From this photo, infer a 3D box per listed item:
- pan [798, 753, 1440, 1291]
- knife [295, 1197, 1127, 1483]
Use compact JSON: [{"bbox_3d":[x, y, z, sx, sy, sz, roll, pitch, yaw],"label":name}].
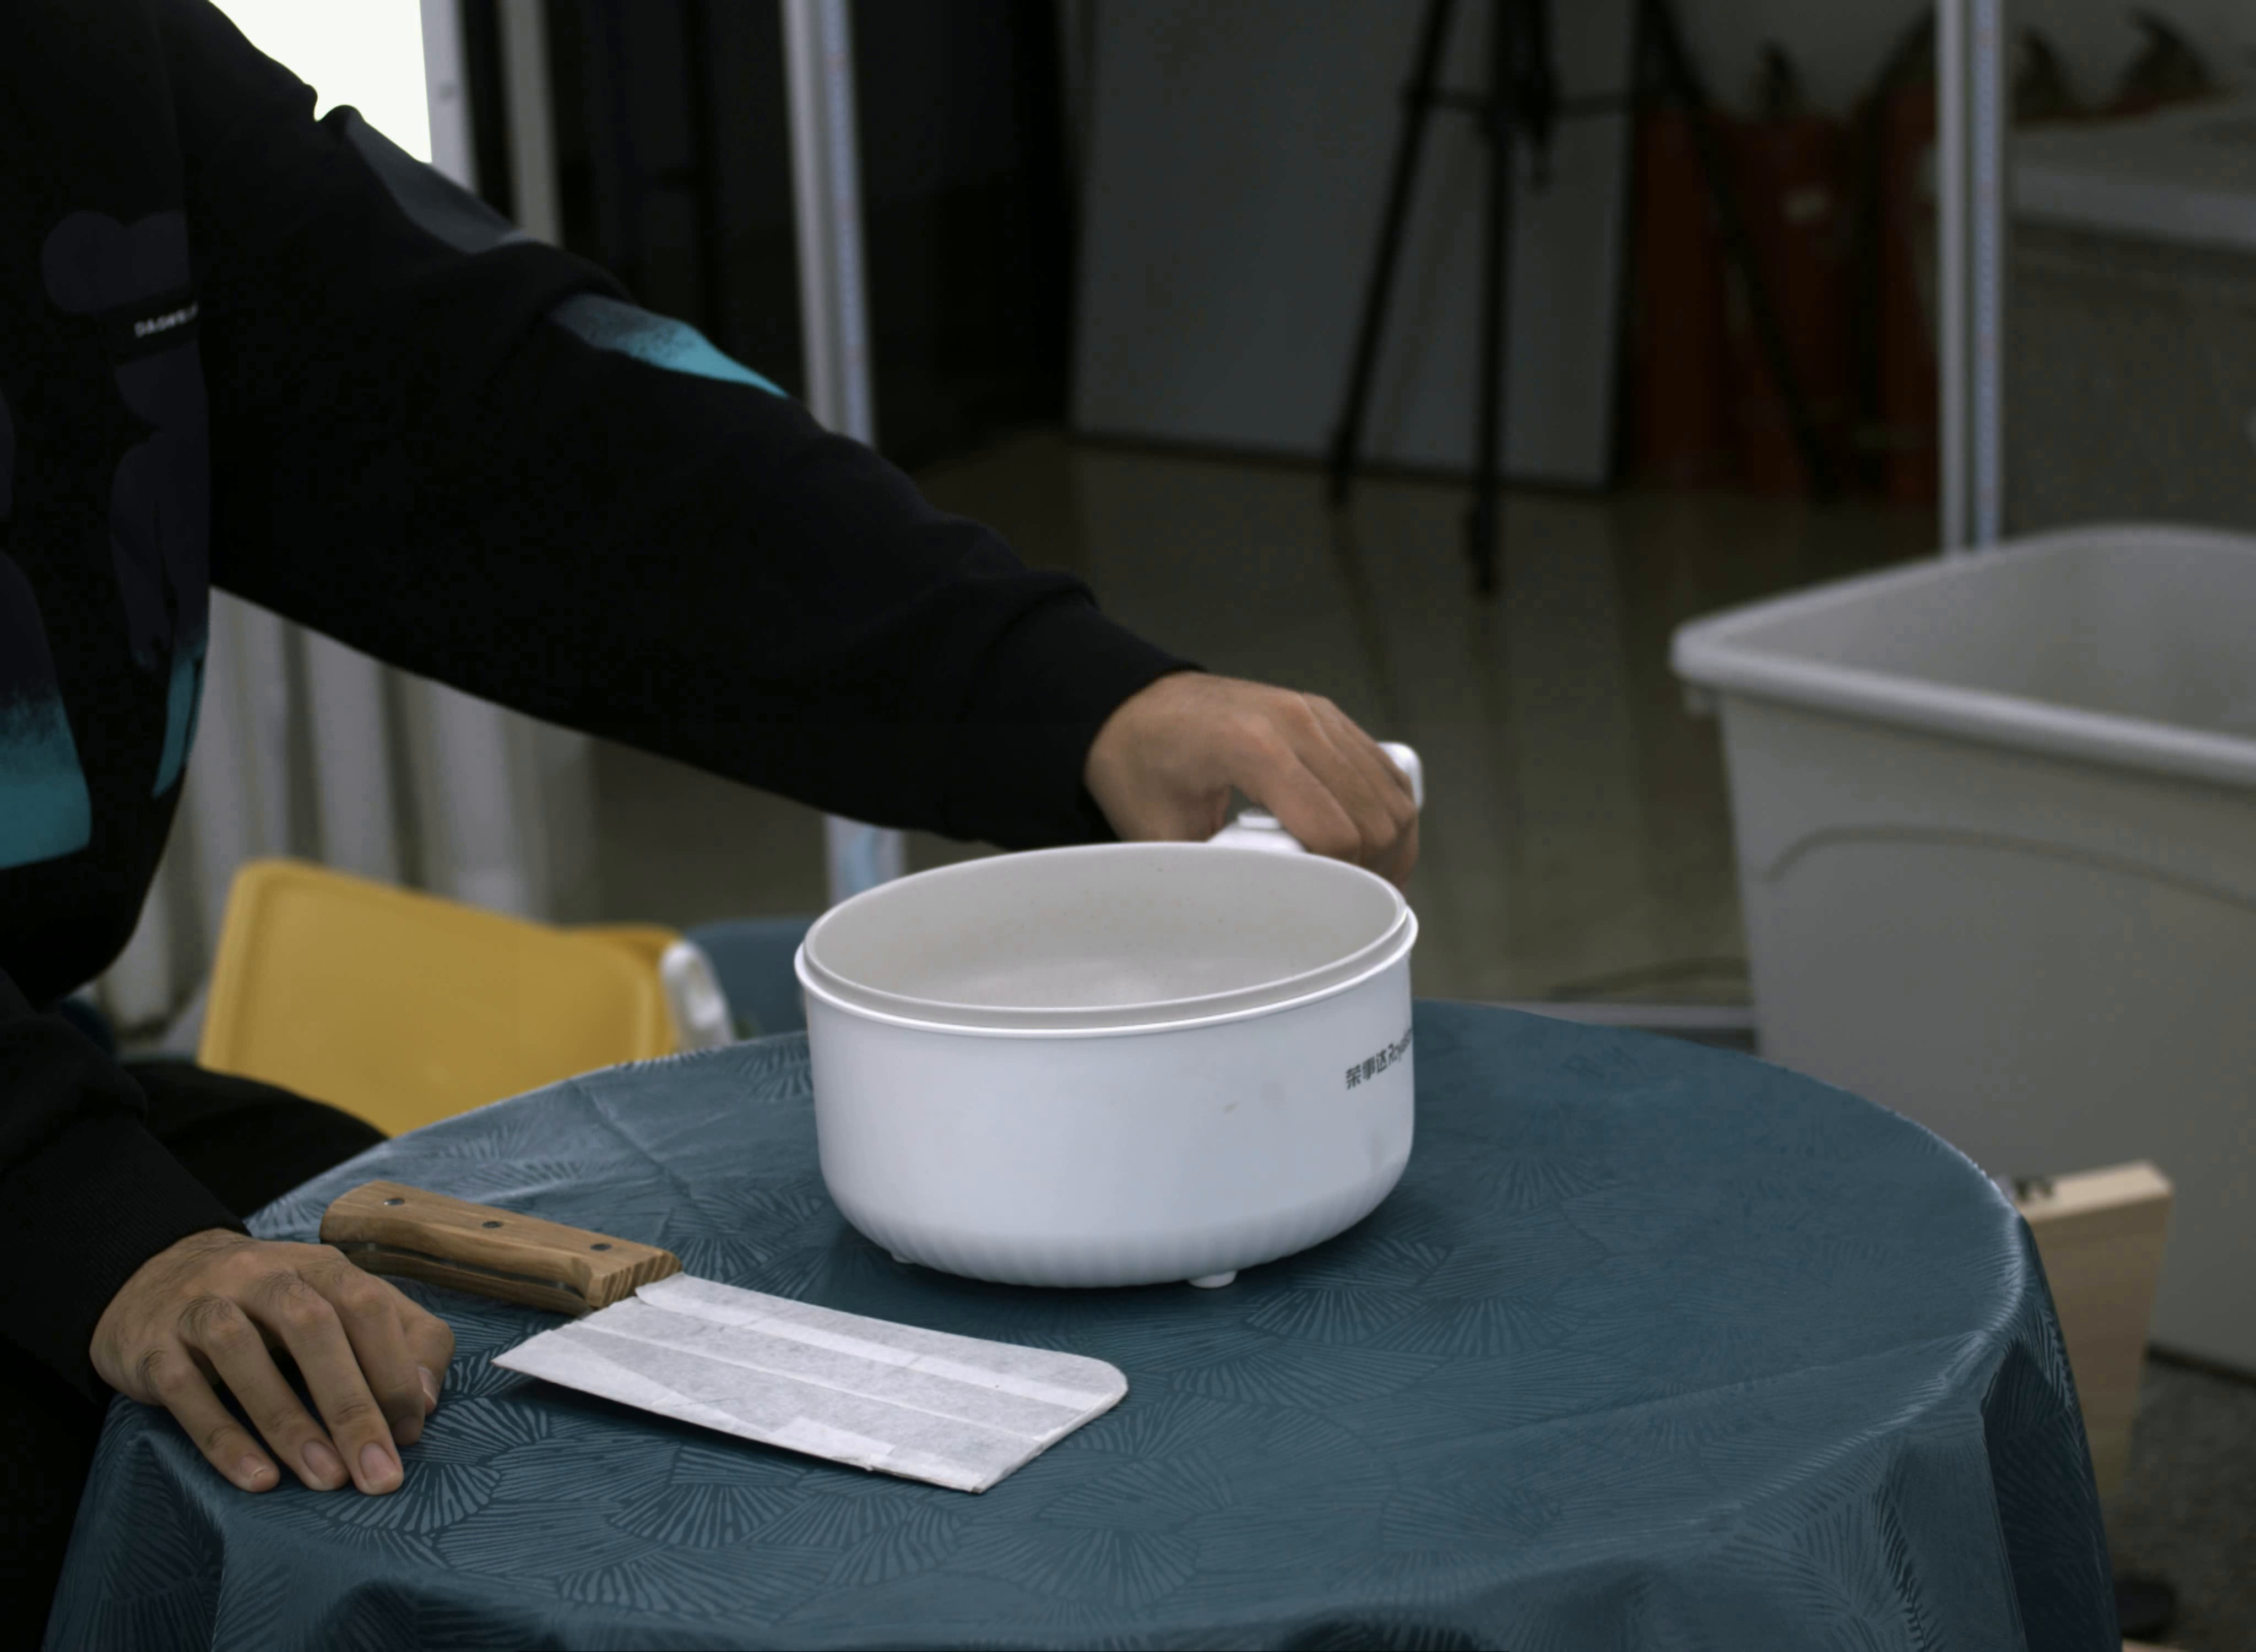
[{"bbox_3d":[0.026,0.061,1.799,0.201,0.103,0.350,1,14,24],"label":"pan"},{"bbox_3d":[-0.136,0.154,1.643,0.318,0.022,0.112,11,20,39],"label":"knife"}]
